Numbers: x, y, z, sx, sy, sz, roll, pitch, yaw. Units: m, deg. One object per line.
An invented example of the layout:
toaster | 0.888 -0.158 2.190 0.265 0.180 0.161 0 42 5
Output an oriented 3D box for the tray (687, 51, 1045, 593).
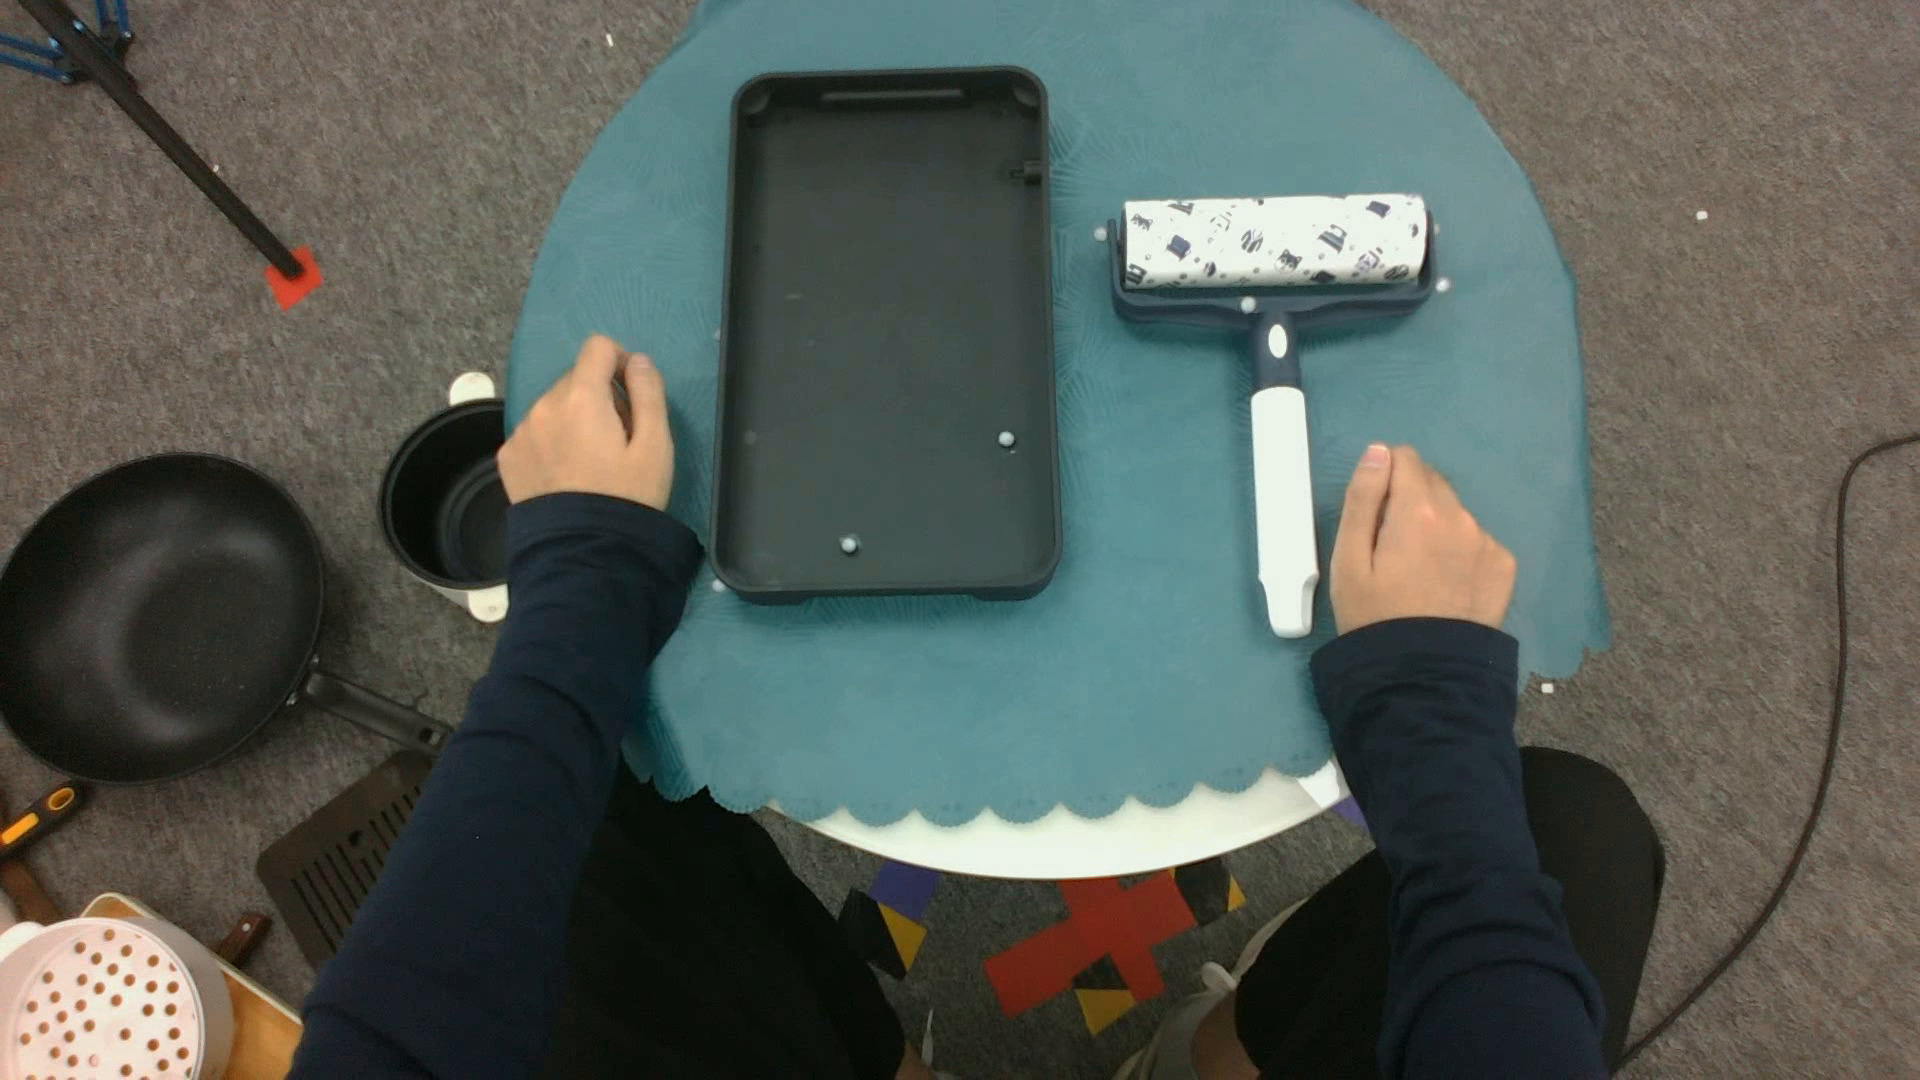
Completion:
tray | -0.050 -0.126 0.764 0.184 0.037 0.319 -1 71 1

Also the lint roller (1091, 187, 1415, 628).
lint roller | 0.164 -0.077 0.739 0.176 0.050 0.247 -1 74 0
